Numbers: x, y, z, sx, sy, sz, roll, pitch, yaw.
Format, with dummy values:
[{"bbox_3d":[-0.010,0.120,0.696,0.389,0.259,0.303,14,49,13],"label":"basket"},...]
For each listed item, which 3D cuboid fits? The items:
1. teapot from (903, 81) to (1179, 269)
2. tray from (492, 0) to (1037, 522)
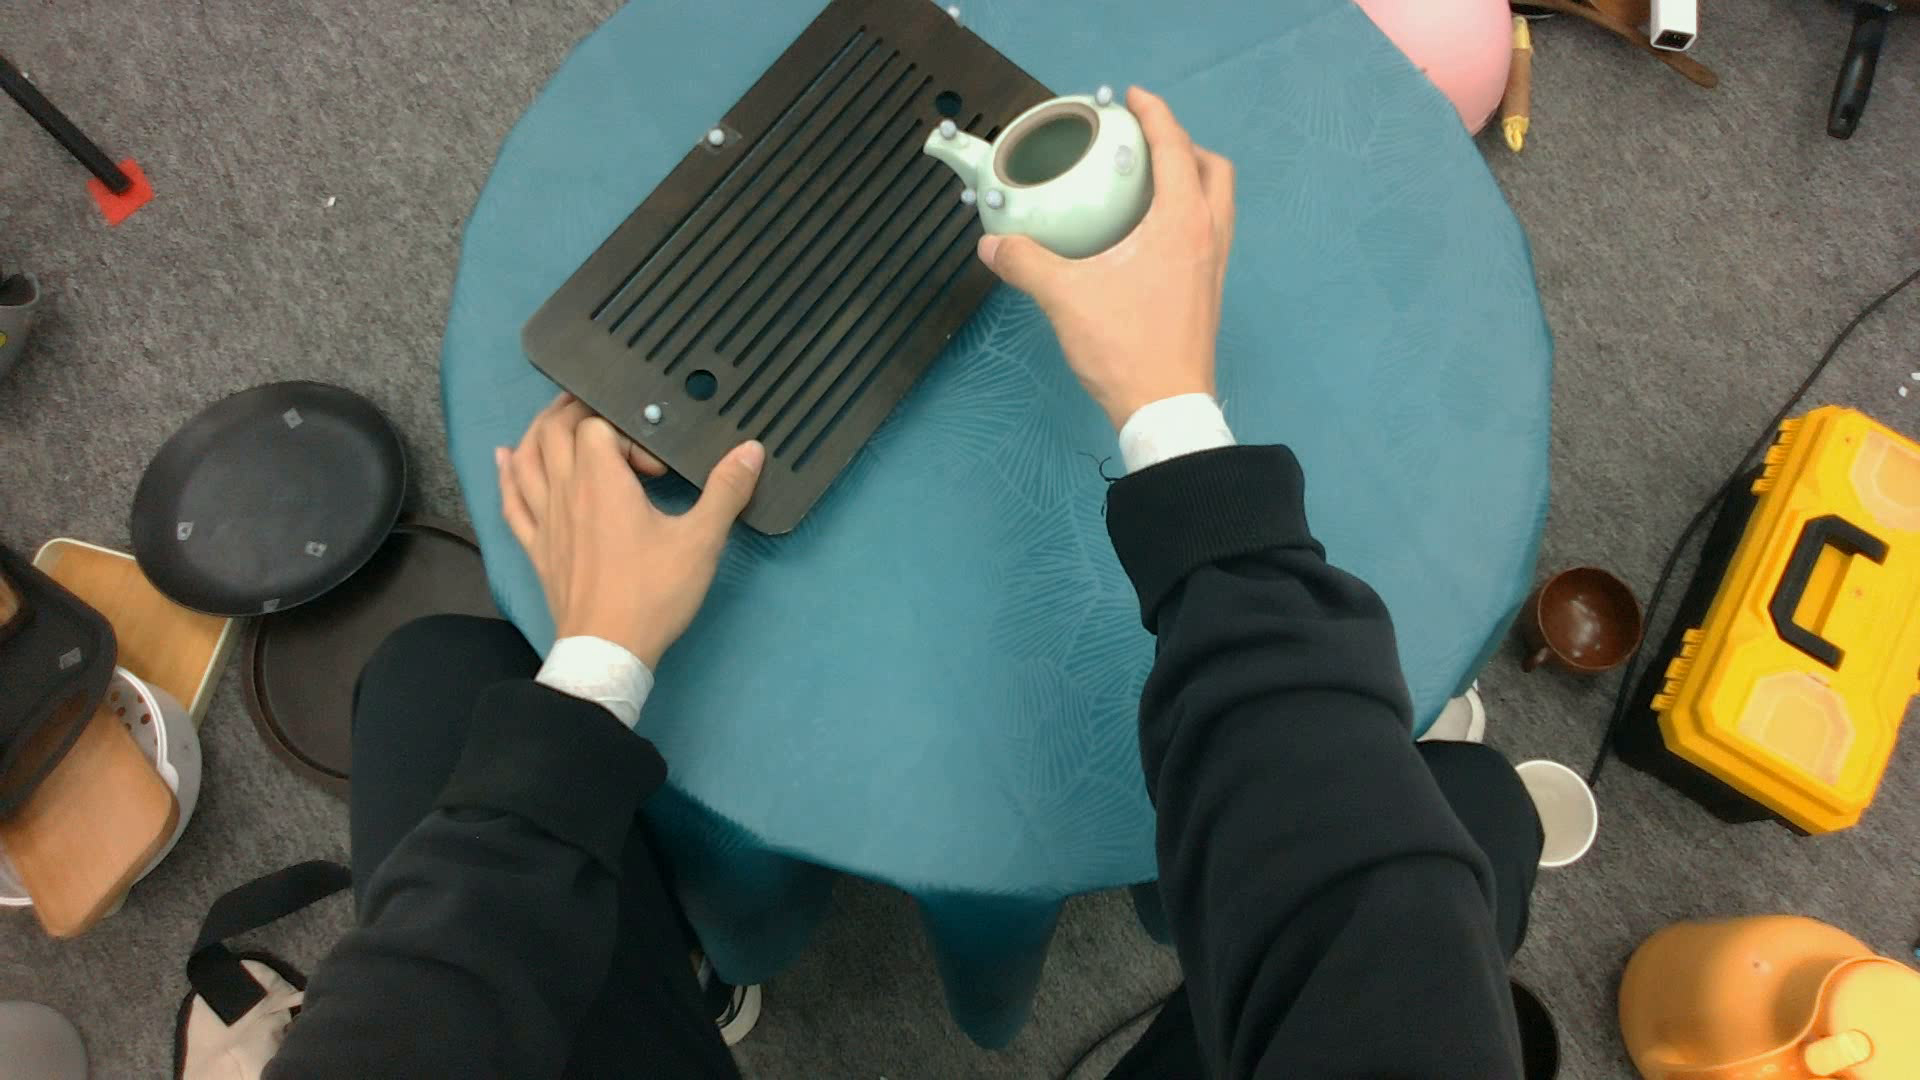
[{"bbox_3d":[0.042,-0.171,0.645,0.143,0.074,0.088,12,66,41],"label":"teapot"},{"bbox_3d":[-0.086,-0.168,0.736,0.170,0.018,0.307,37,72,1],"label":"tray"}]
